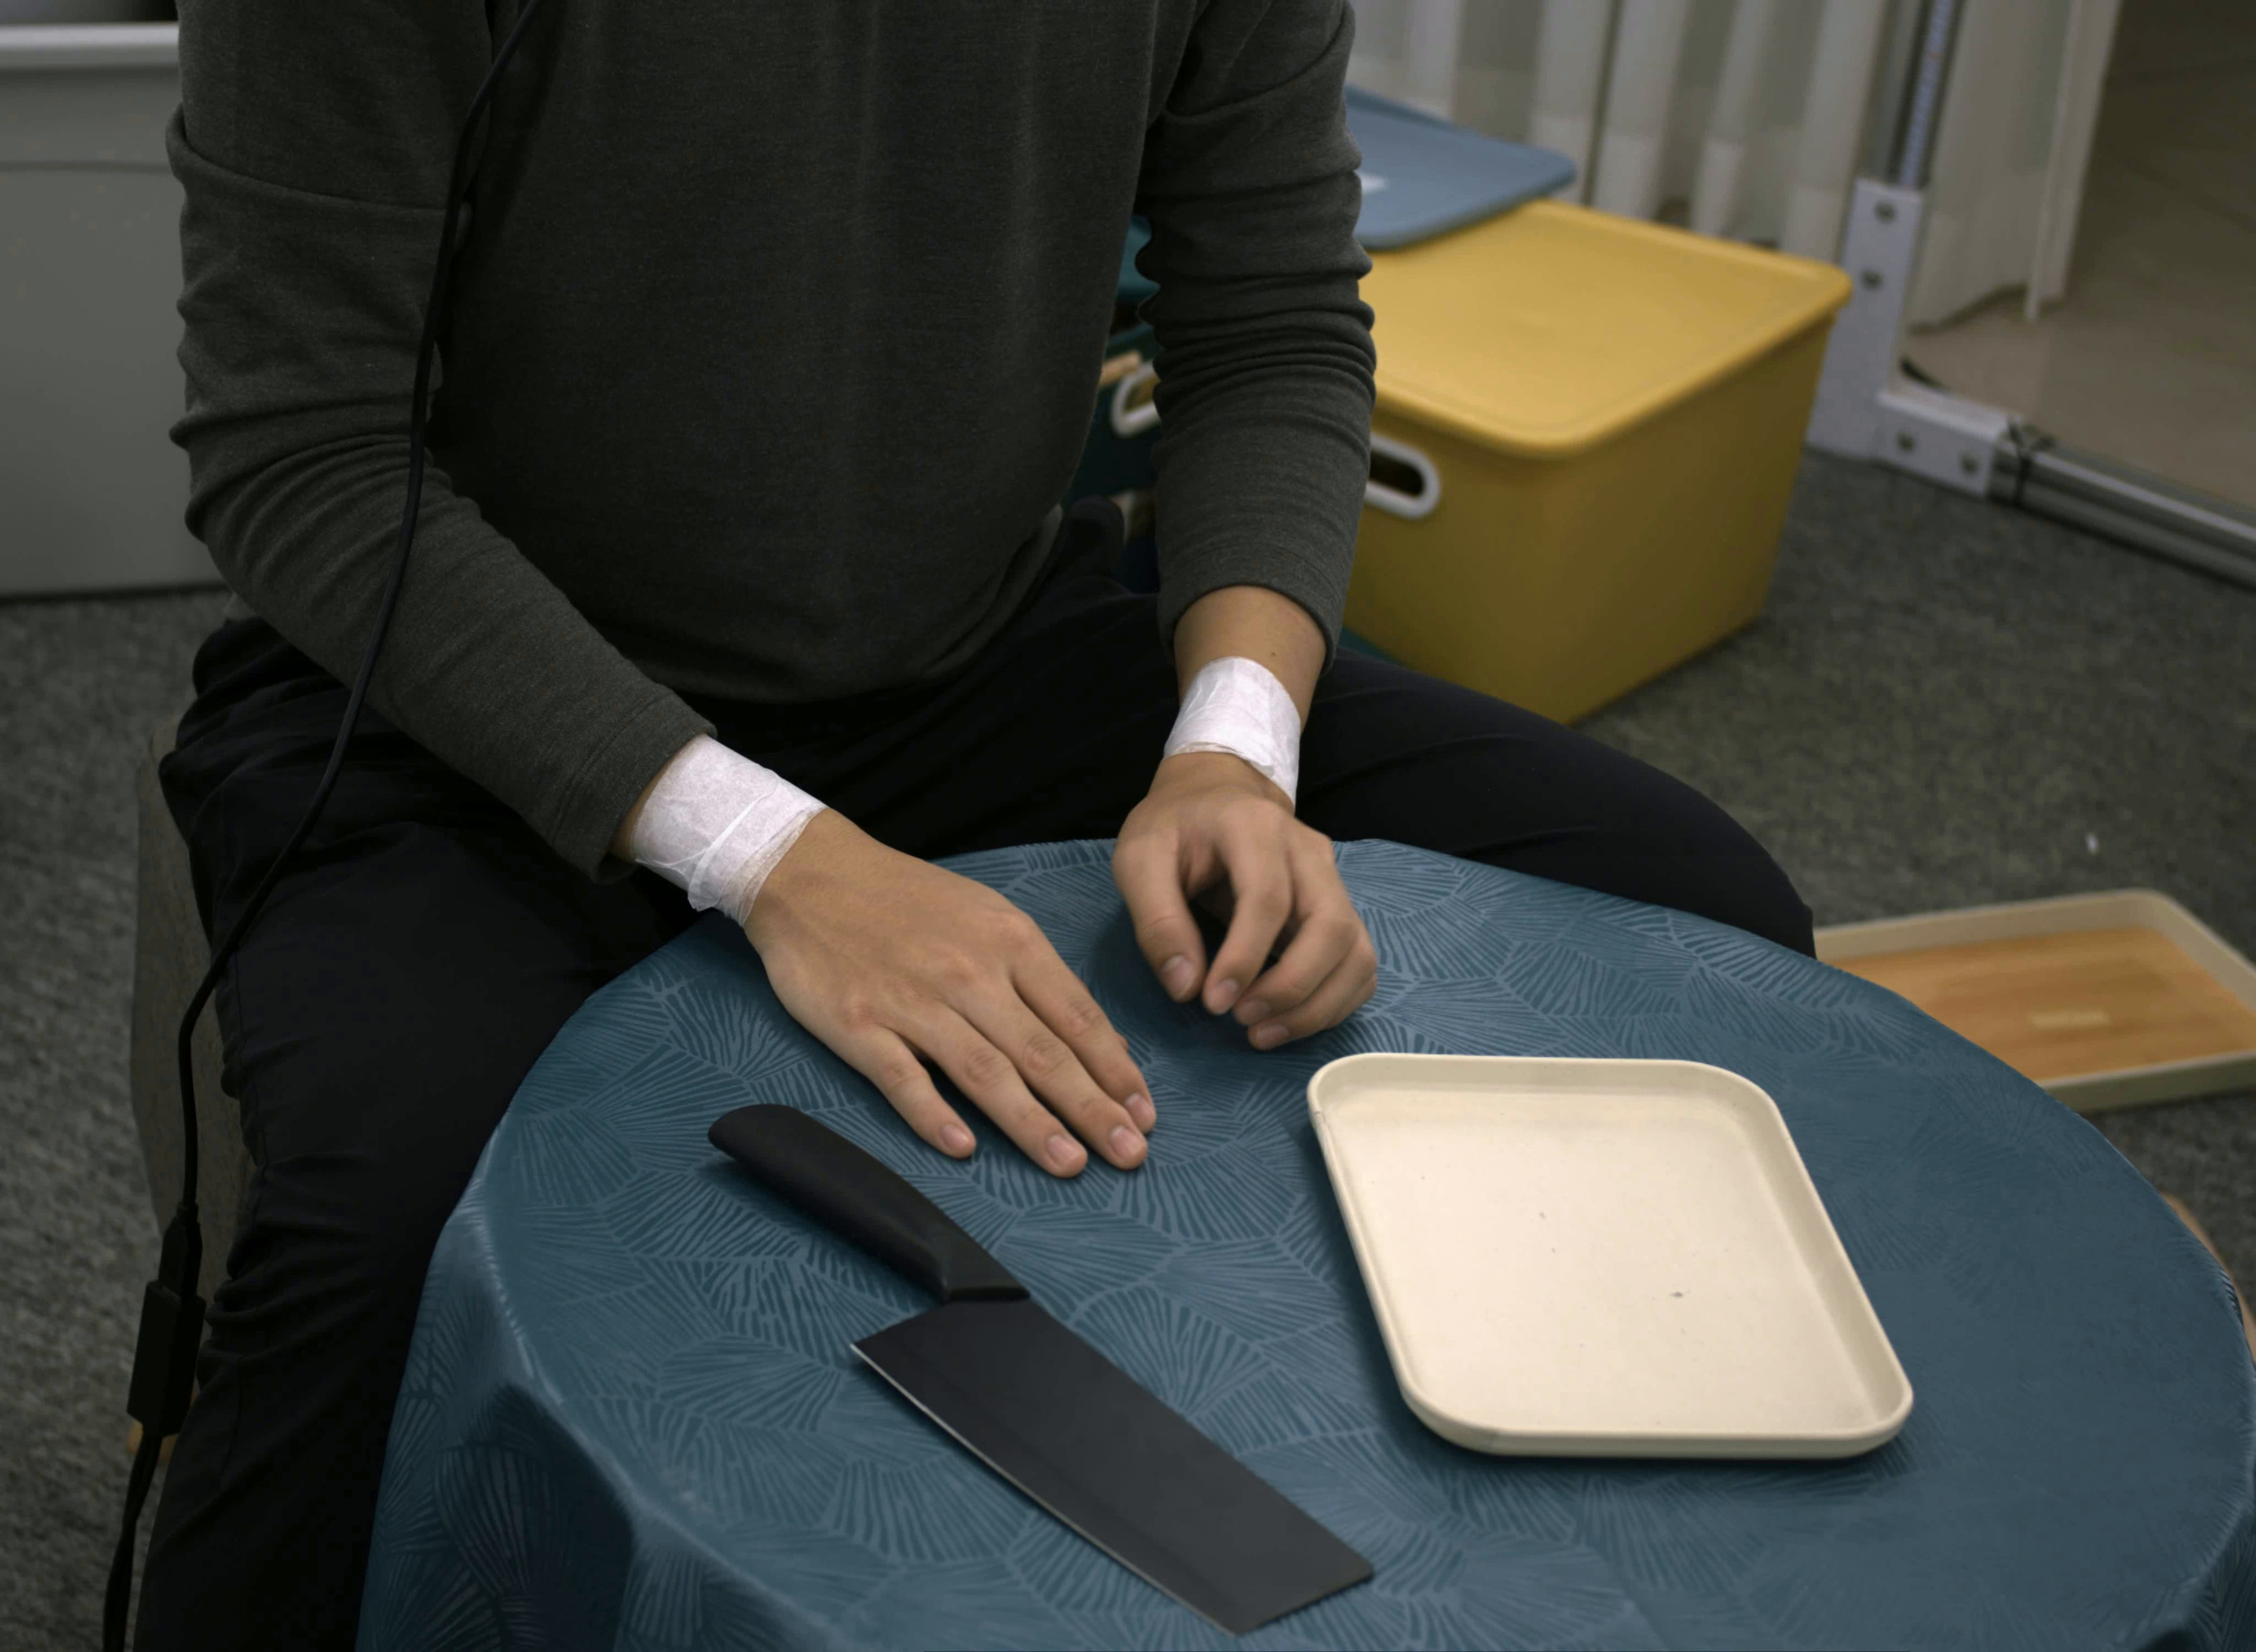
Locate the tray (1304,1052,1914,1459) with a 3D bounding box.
[{"bbox_3d":[0.156,0.143,1.783,0.170,0.017,0.241,2,27,-10],"label":"tray"}]

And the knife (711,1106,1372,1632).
[{"bbox_3d":[-0.041,0.169,1.693,0.080,0.021,0.305,-15,35,-33],"label":"knife"}]
